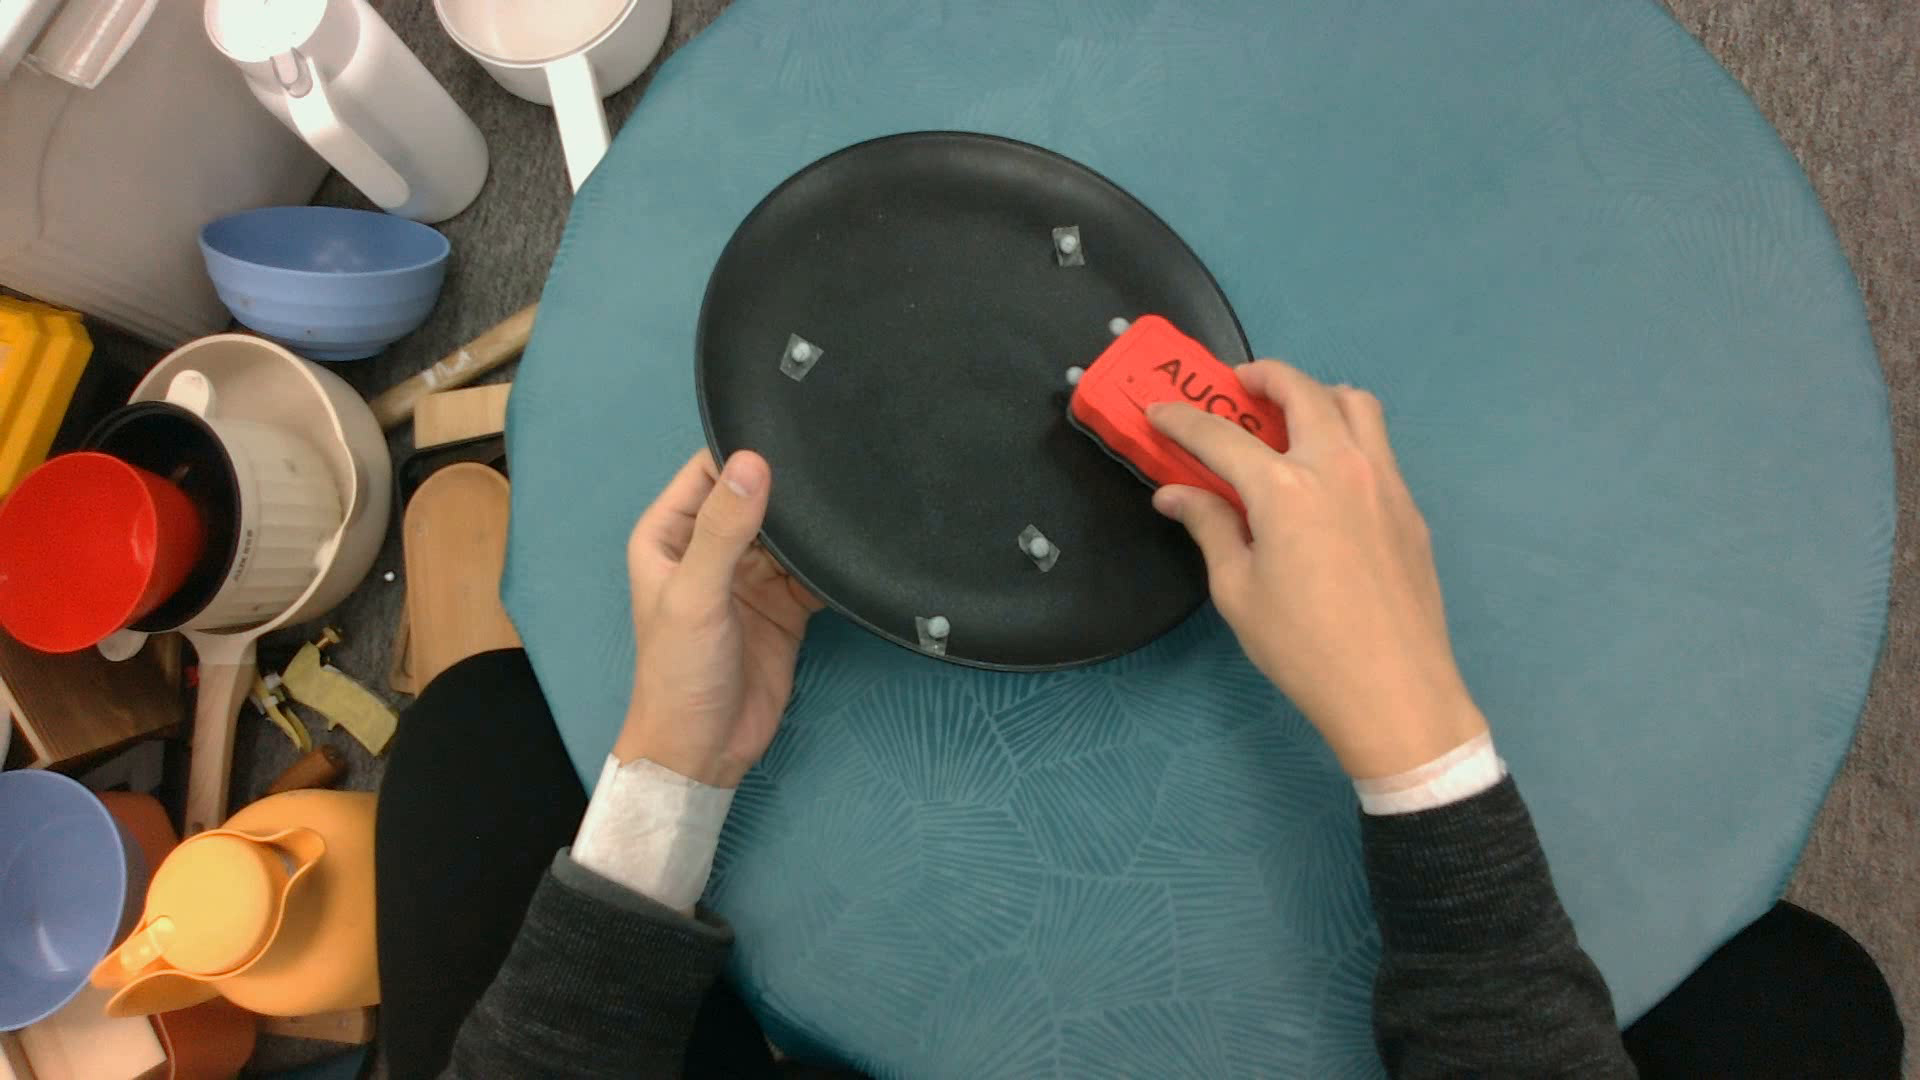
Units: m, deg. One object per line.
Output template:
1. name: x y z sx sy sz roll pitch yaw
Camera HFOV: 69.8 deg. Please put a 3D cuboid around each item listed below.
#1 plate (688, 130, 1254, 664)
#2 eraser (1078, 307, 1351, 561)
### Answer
1. plate: 0.010 -0.063 0.572 0.244 0.023 0.245 6 67 -14
2. eraser: 0.105 -0.045 0.573 0.108 0.023 0.059 41 71 11
